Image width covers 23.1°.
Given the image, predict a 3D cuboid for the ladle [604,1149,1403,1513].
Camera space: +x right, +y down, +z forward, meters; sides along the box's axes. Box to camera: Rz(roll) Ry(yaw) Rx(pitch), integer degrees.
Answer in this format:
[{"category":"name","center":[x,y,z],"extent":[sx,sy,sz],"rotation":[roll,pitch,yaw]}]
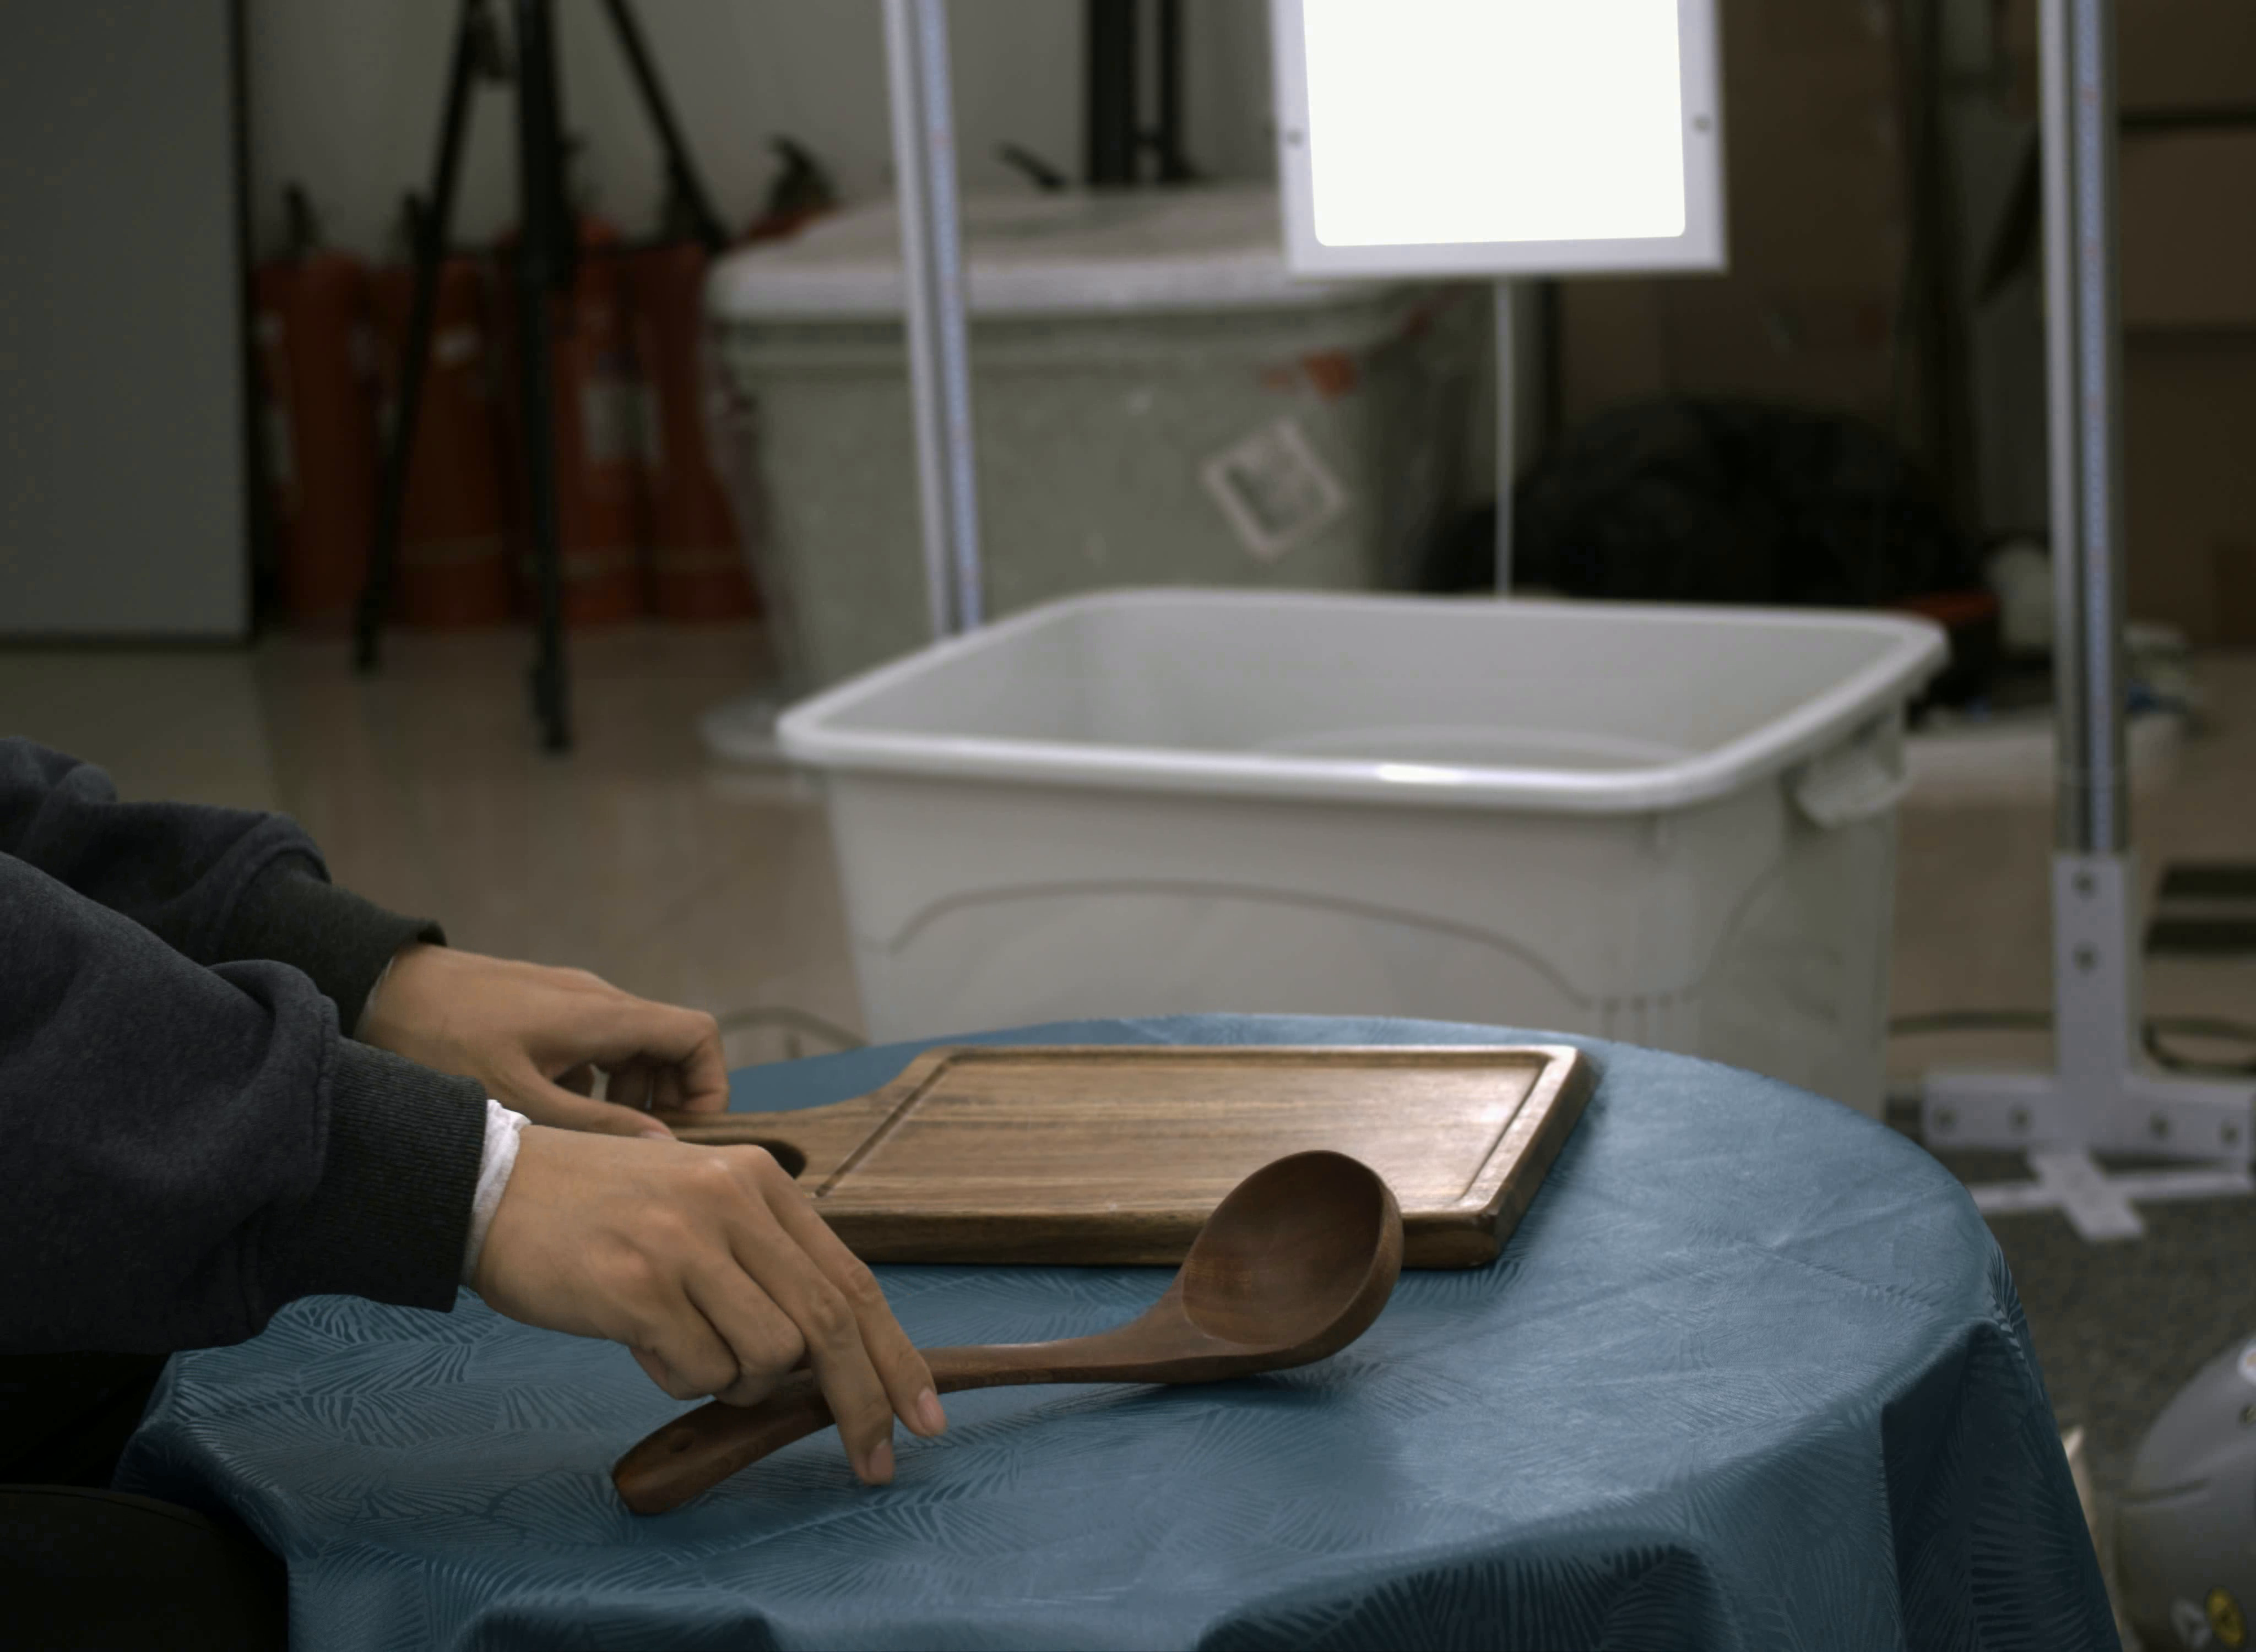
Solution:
[{"category":"ladle","center":[-0.037,0.152,1.671],"extent":[0.255,0.065,0.077],"rotation":[-10,24,-21]}]

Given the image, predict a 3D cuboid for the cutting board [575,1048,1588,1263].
[{"category":"cutting board","center":[-0.025,0.112,1.918],"extent":[0.356,0.023,0.198],"rotation":[-1,13,17]}]
